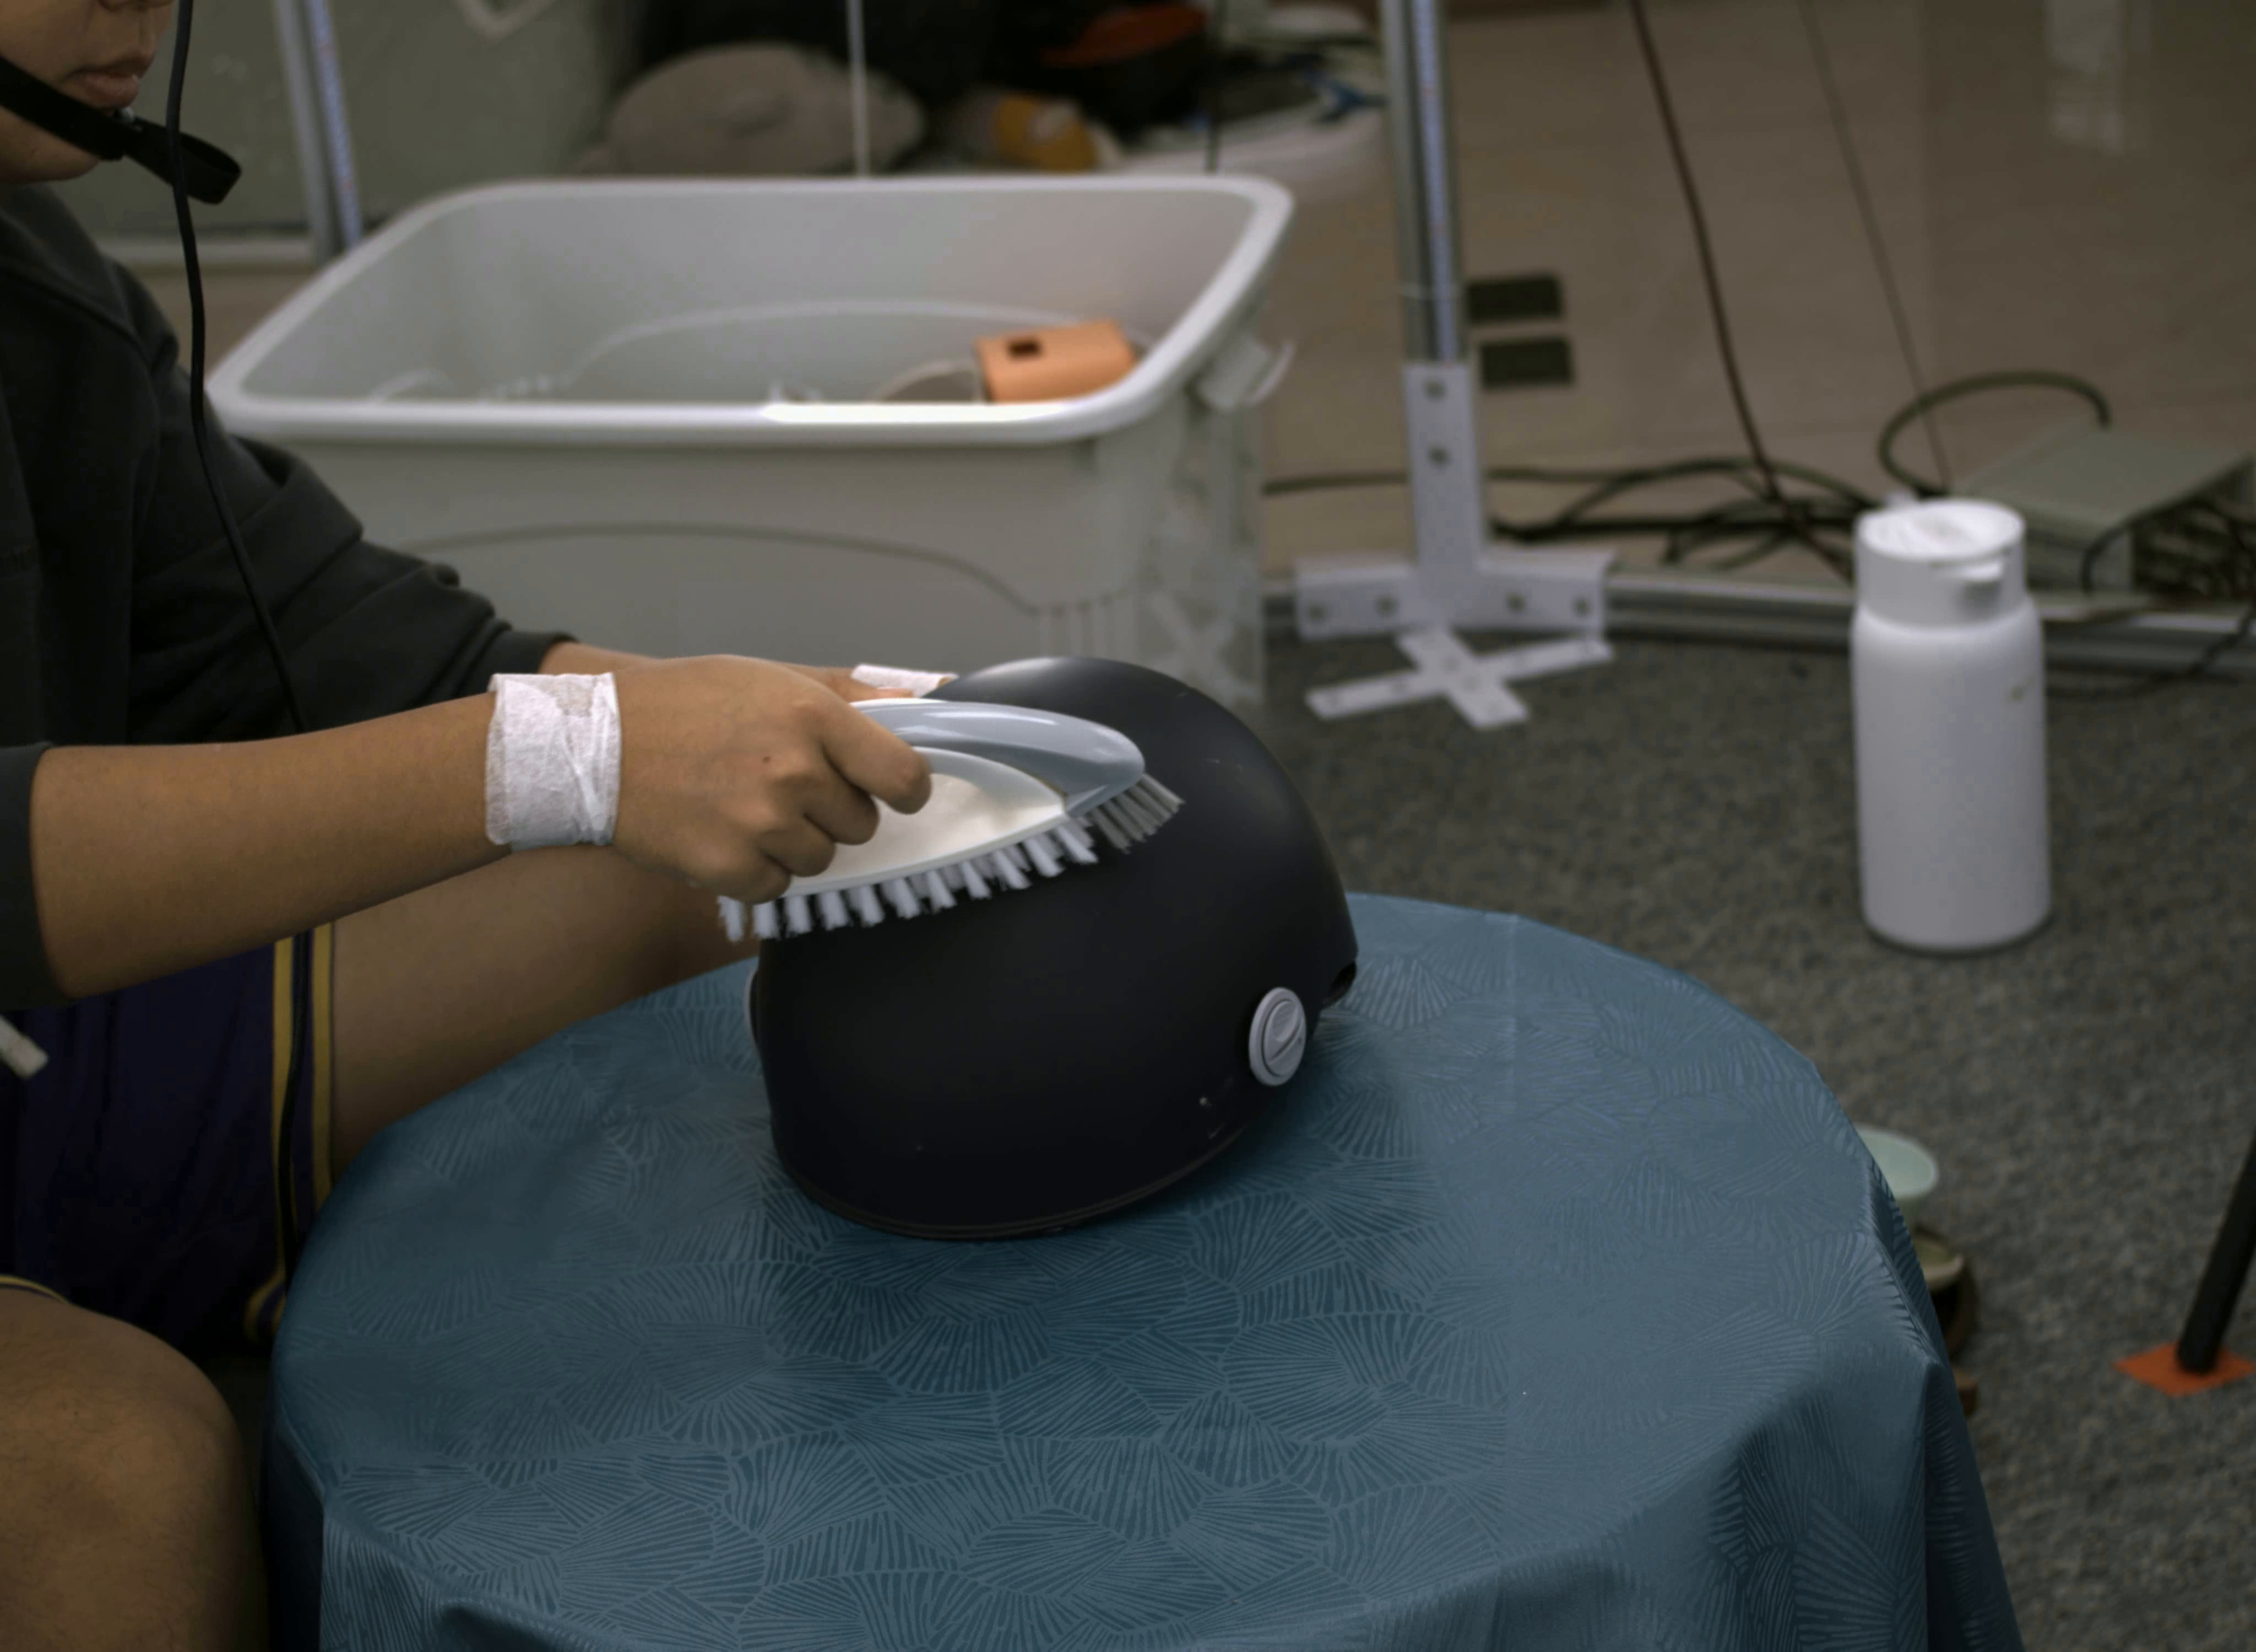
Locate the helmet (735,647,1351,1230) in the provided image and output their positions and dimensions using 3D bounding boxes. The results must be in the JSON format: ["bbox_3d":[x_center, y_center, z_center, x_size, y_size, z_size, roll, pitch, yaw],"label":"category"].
[{"bbox_3d":[-0.038,0.026,2.201,0.229,0.169,0.269,3,30,24],"label":"helmet"}]

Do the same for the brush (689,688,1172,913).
[{"bbox_3d":[-0.076,-0.020,2.080,0.175,0.096,0.060,-5,57,7],"label":"brush"}]
